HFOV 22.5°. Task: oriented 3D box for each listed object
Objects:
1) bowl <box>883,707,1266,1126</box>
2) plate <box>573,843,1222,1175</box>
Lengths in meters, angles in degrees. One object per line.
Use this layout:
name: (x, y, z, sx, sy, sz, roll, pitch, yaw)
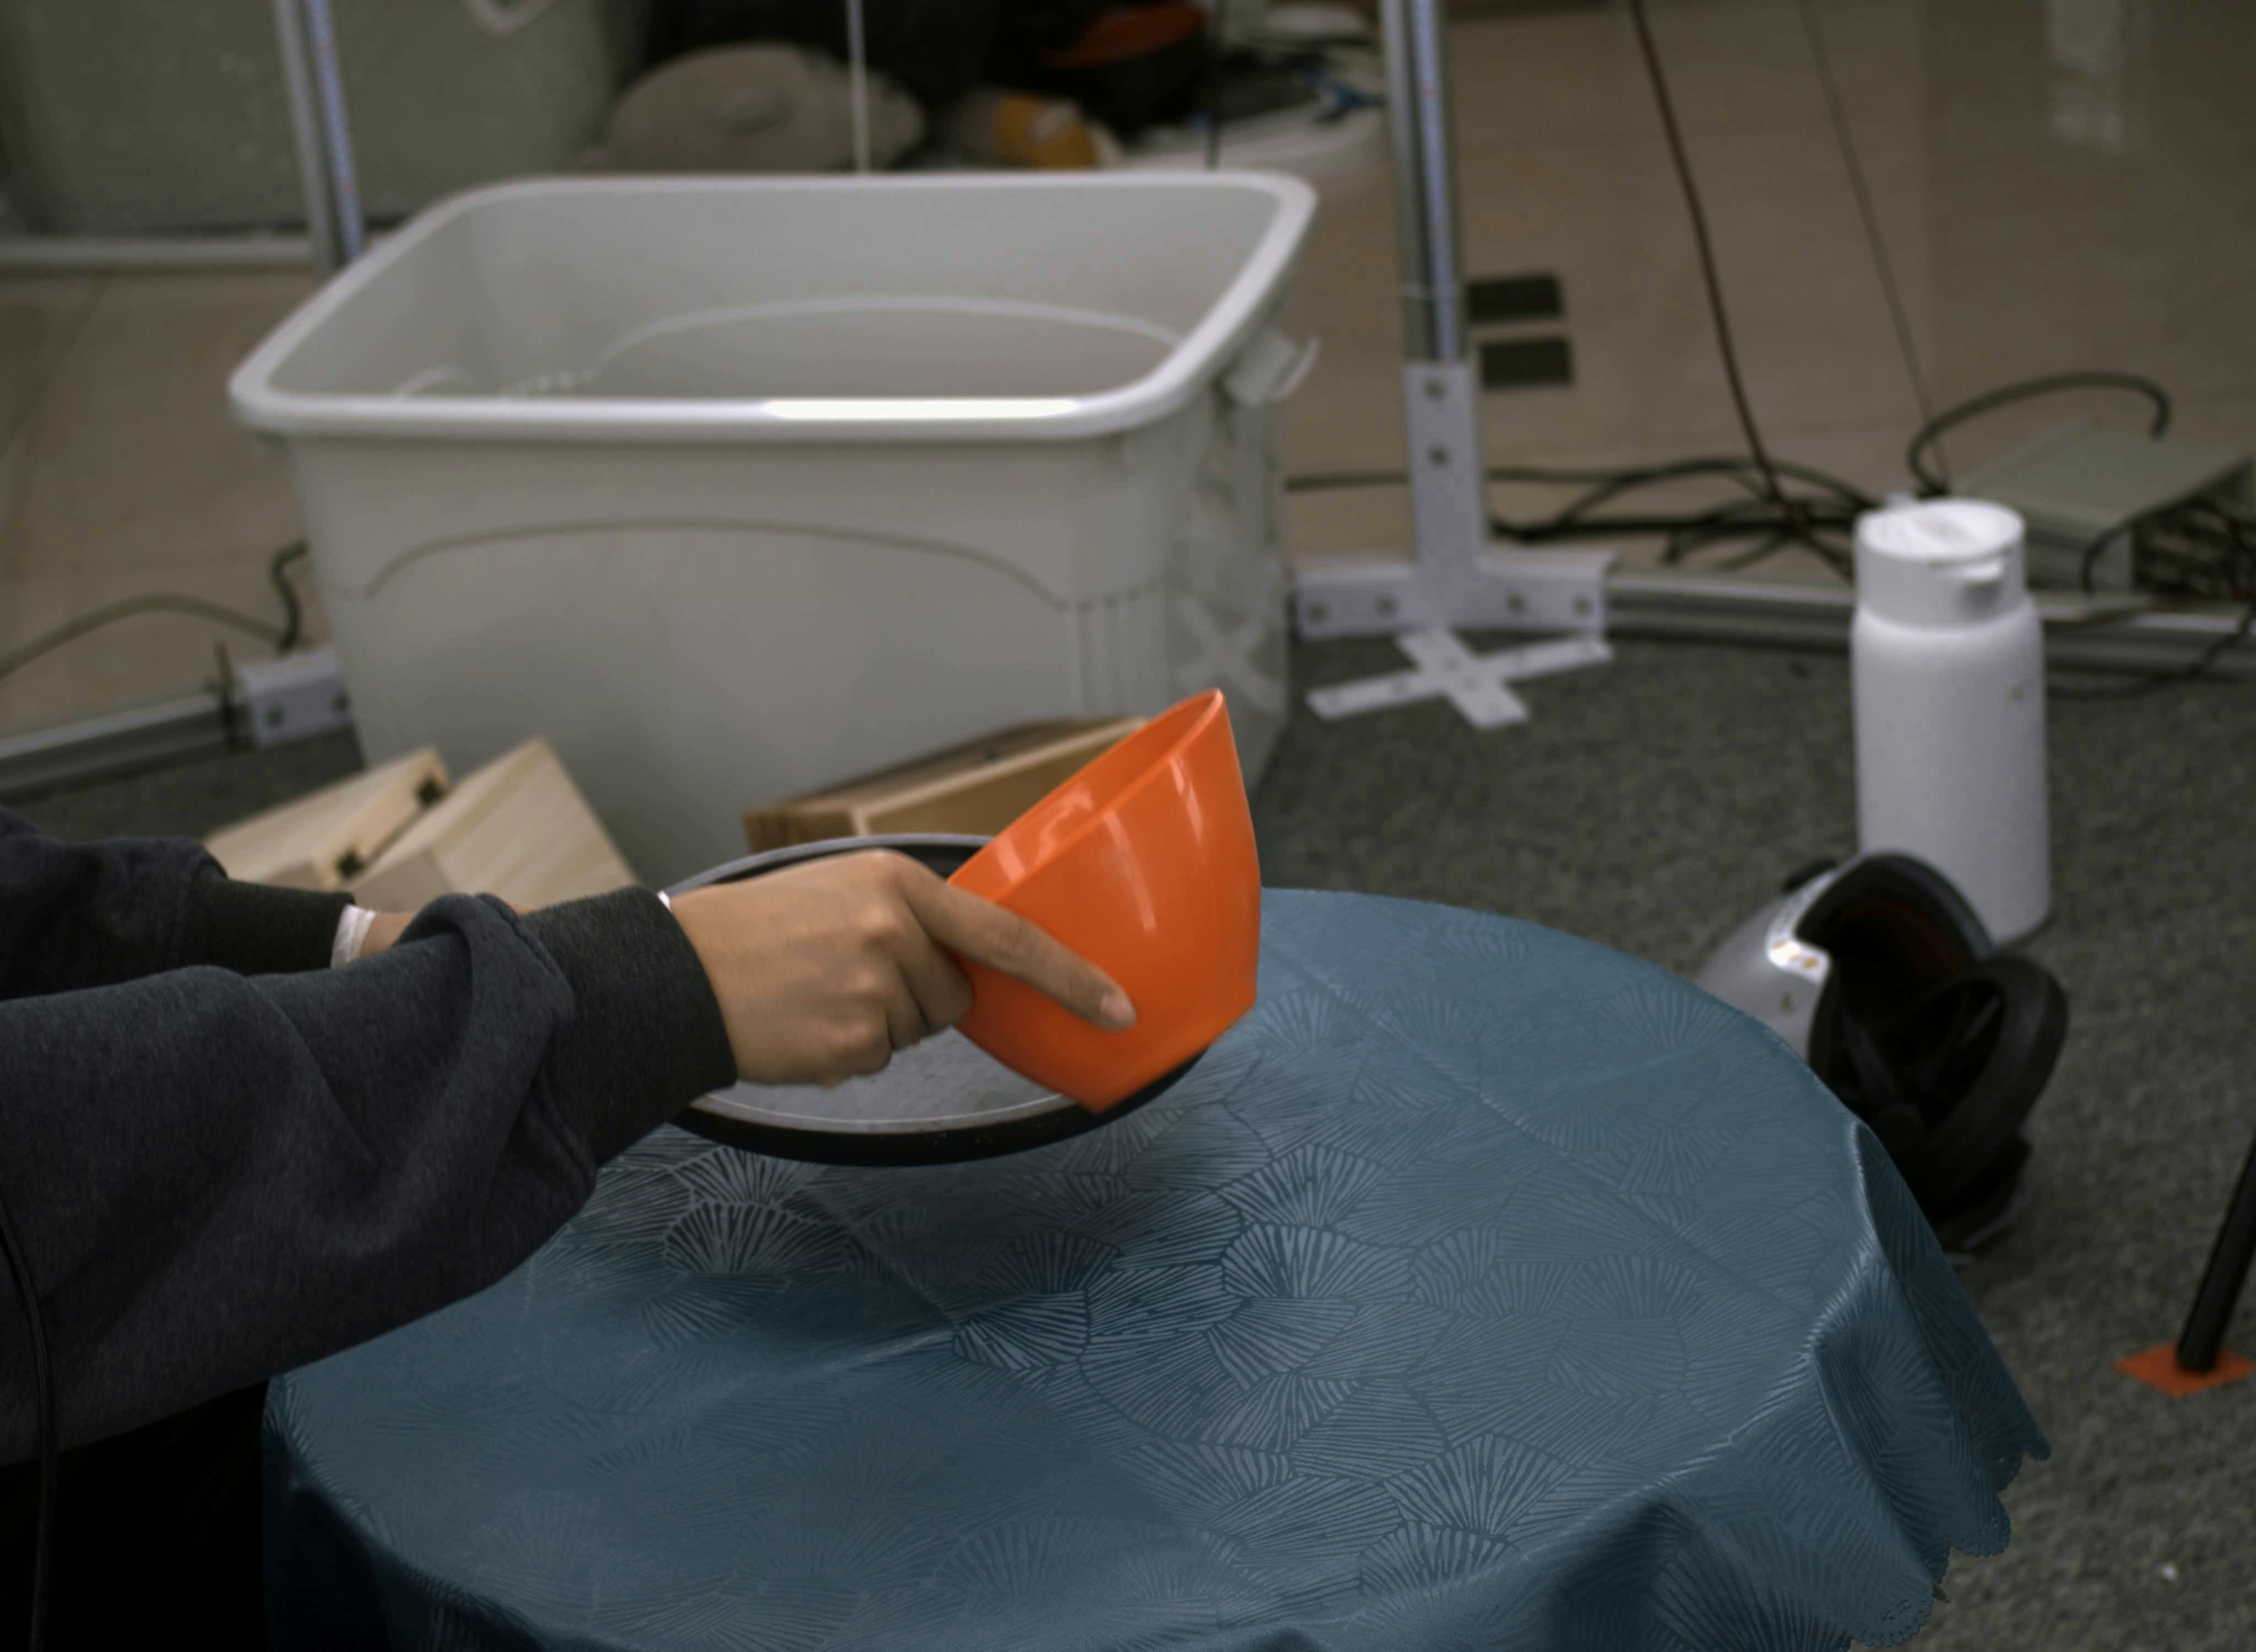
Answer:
bowl: (-0.003, 0.038, 1.934, 0.148, 0.105, 0.148, -30, 1, 1)
plate: (-0.085, 0.068, 2.168, 0.254, 0.029, 0.251, 0, 27, 0)
